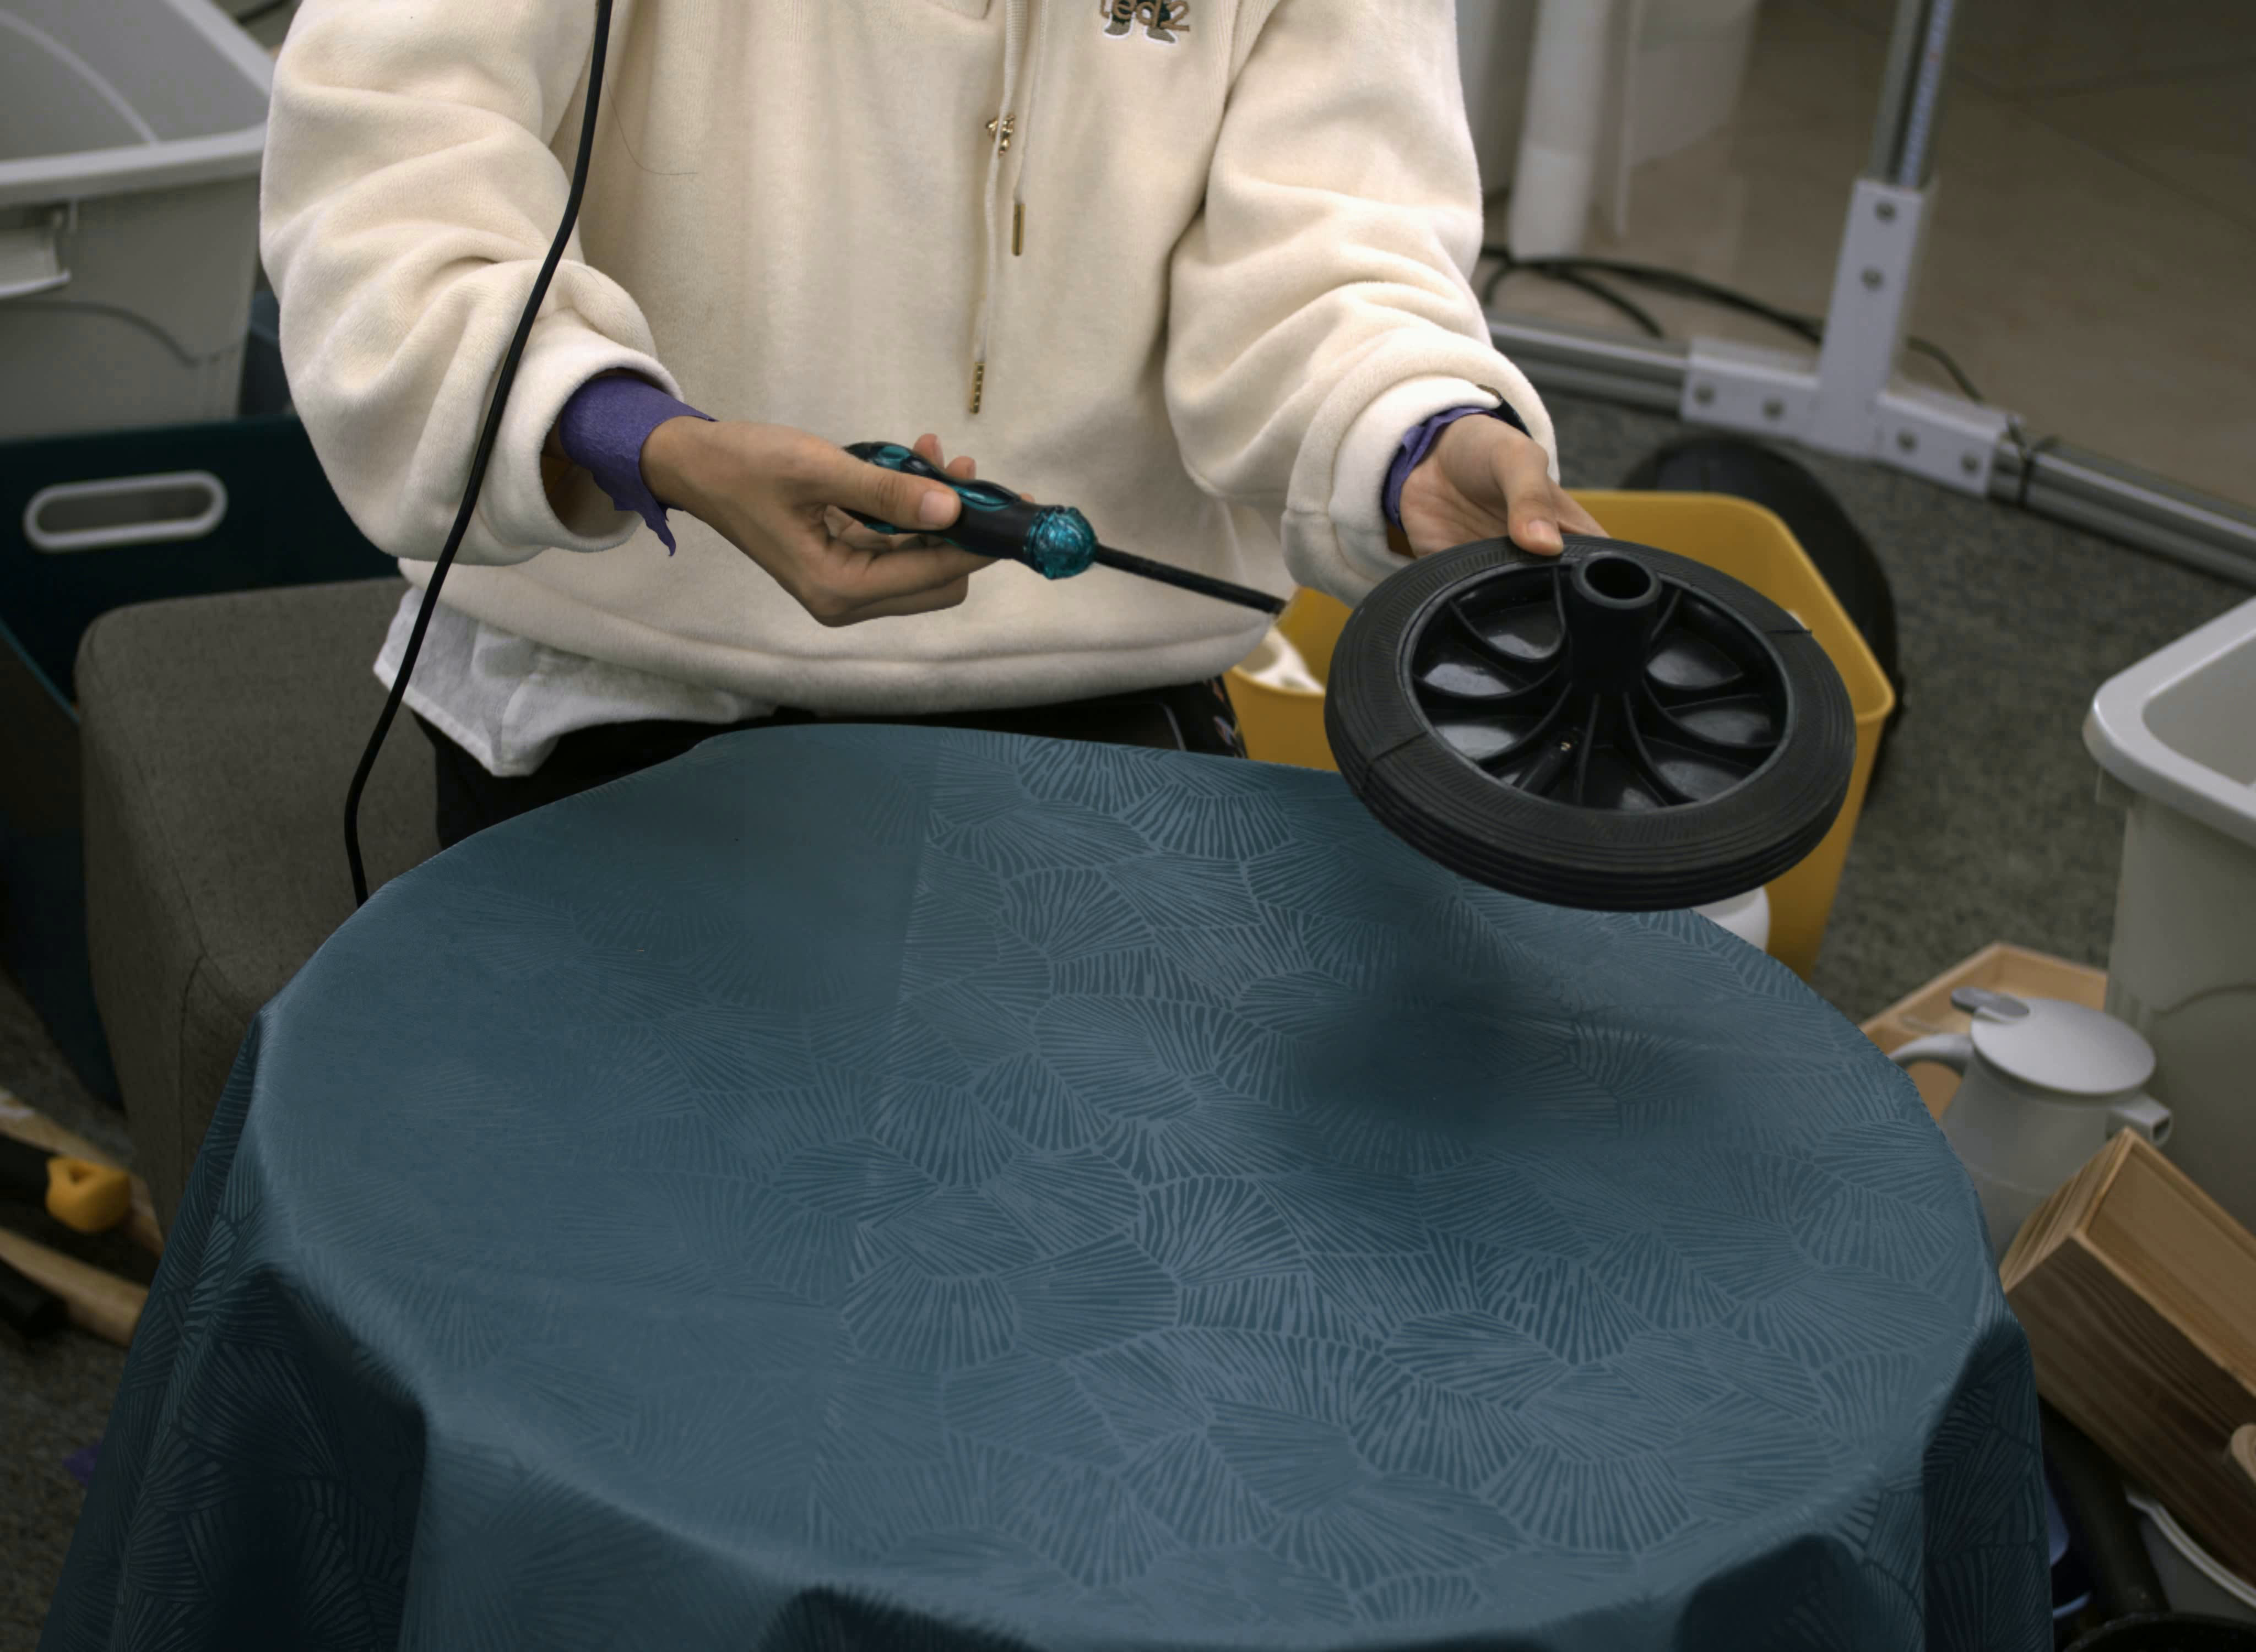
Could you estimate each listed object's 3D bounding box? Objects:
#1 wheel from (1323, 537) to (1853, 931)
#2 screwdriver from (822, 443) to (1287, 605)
[{"bbox_3d":[0.164,-0.051,1.864,0.187,0.079,0.191,9,43,2],"label":"wheel"},{"bbox_3d":[-0.025,-0.103,1.870,0.191,0.033,0.033,16,28,30],"label":"screwdriver"}]
